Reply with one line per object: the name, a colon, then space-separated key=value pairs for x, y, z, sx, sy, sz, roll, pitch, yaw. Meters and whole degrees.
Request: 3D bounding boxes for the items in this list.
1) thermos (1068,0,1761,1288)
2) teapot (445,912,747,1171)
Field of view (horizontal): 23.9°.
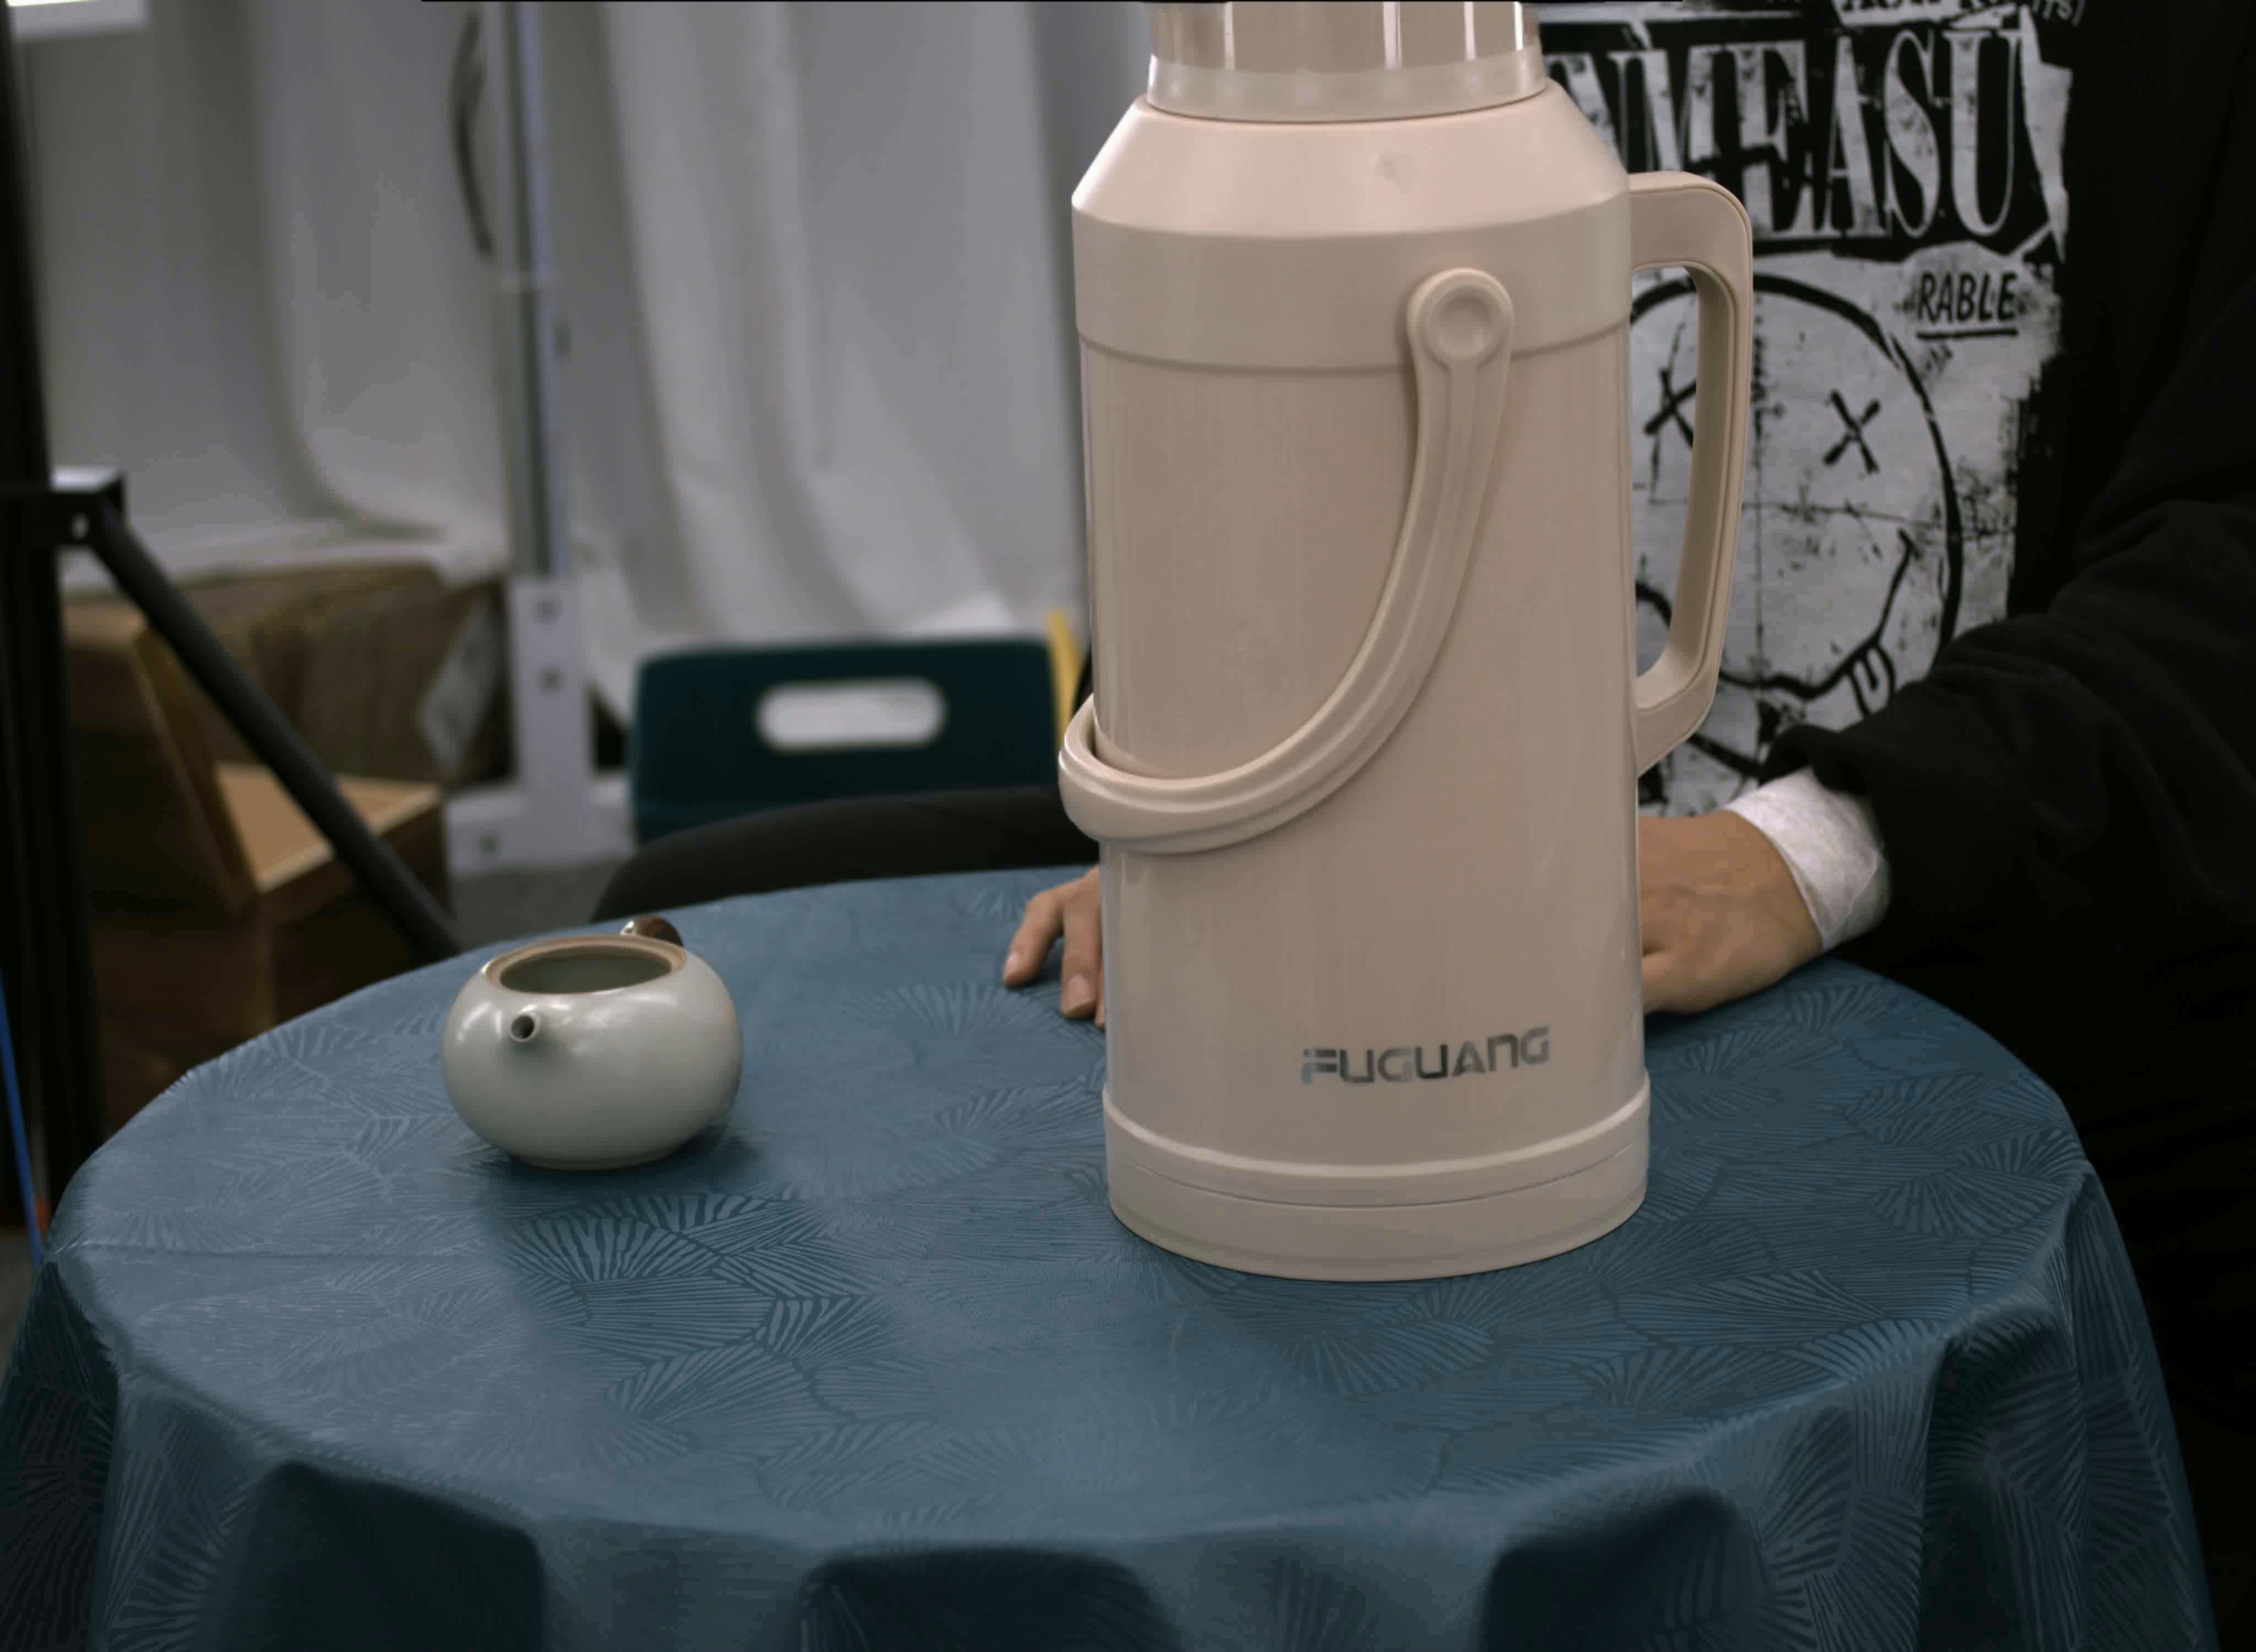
thermos: x=0.082 y=-0.085 z=1.499 sx=0.203 sy=0.406 sz=0.178 roll=-7 pitch=14 yaw=-16
teapot: x=-0.158 y=0.065 z=1.623 sx=0.092 sy=0.059 sz=0.127 roll=-3 pitch=16 yaw=17
